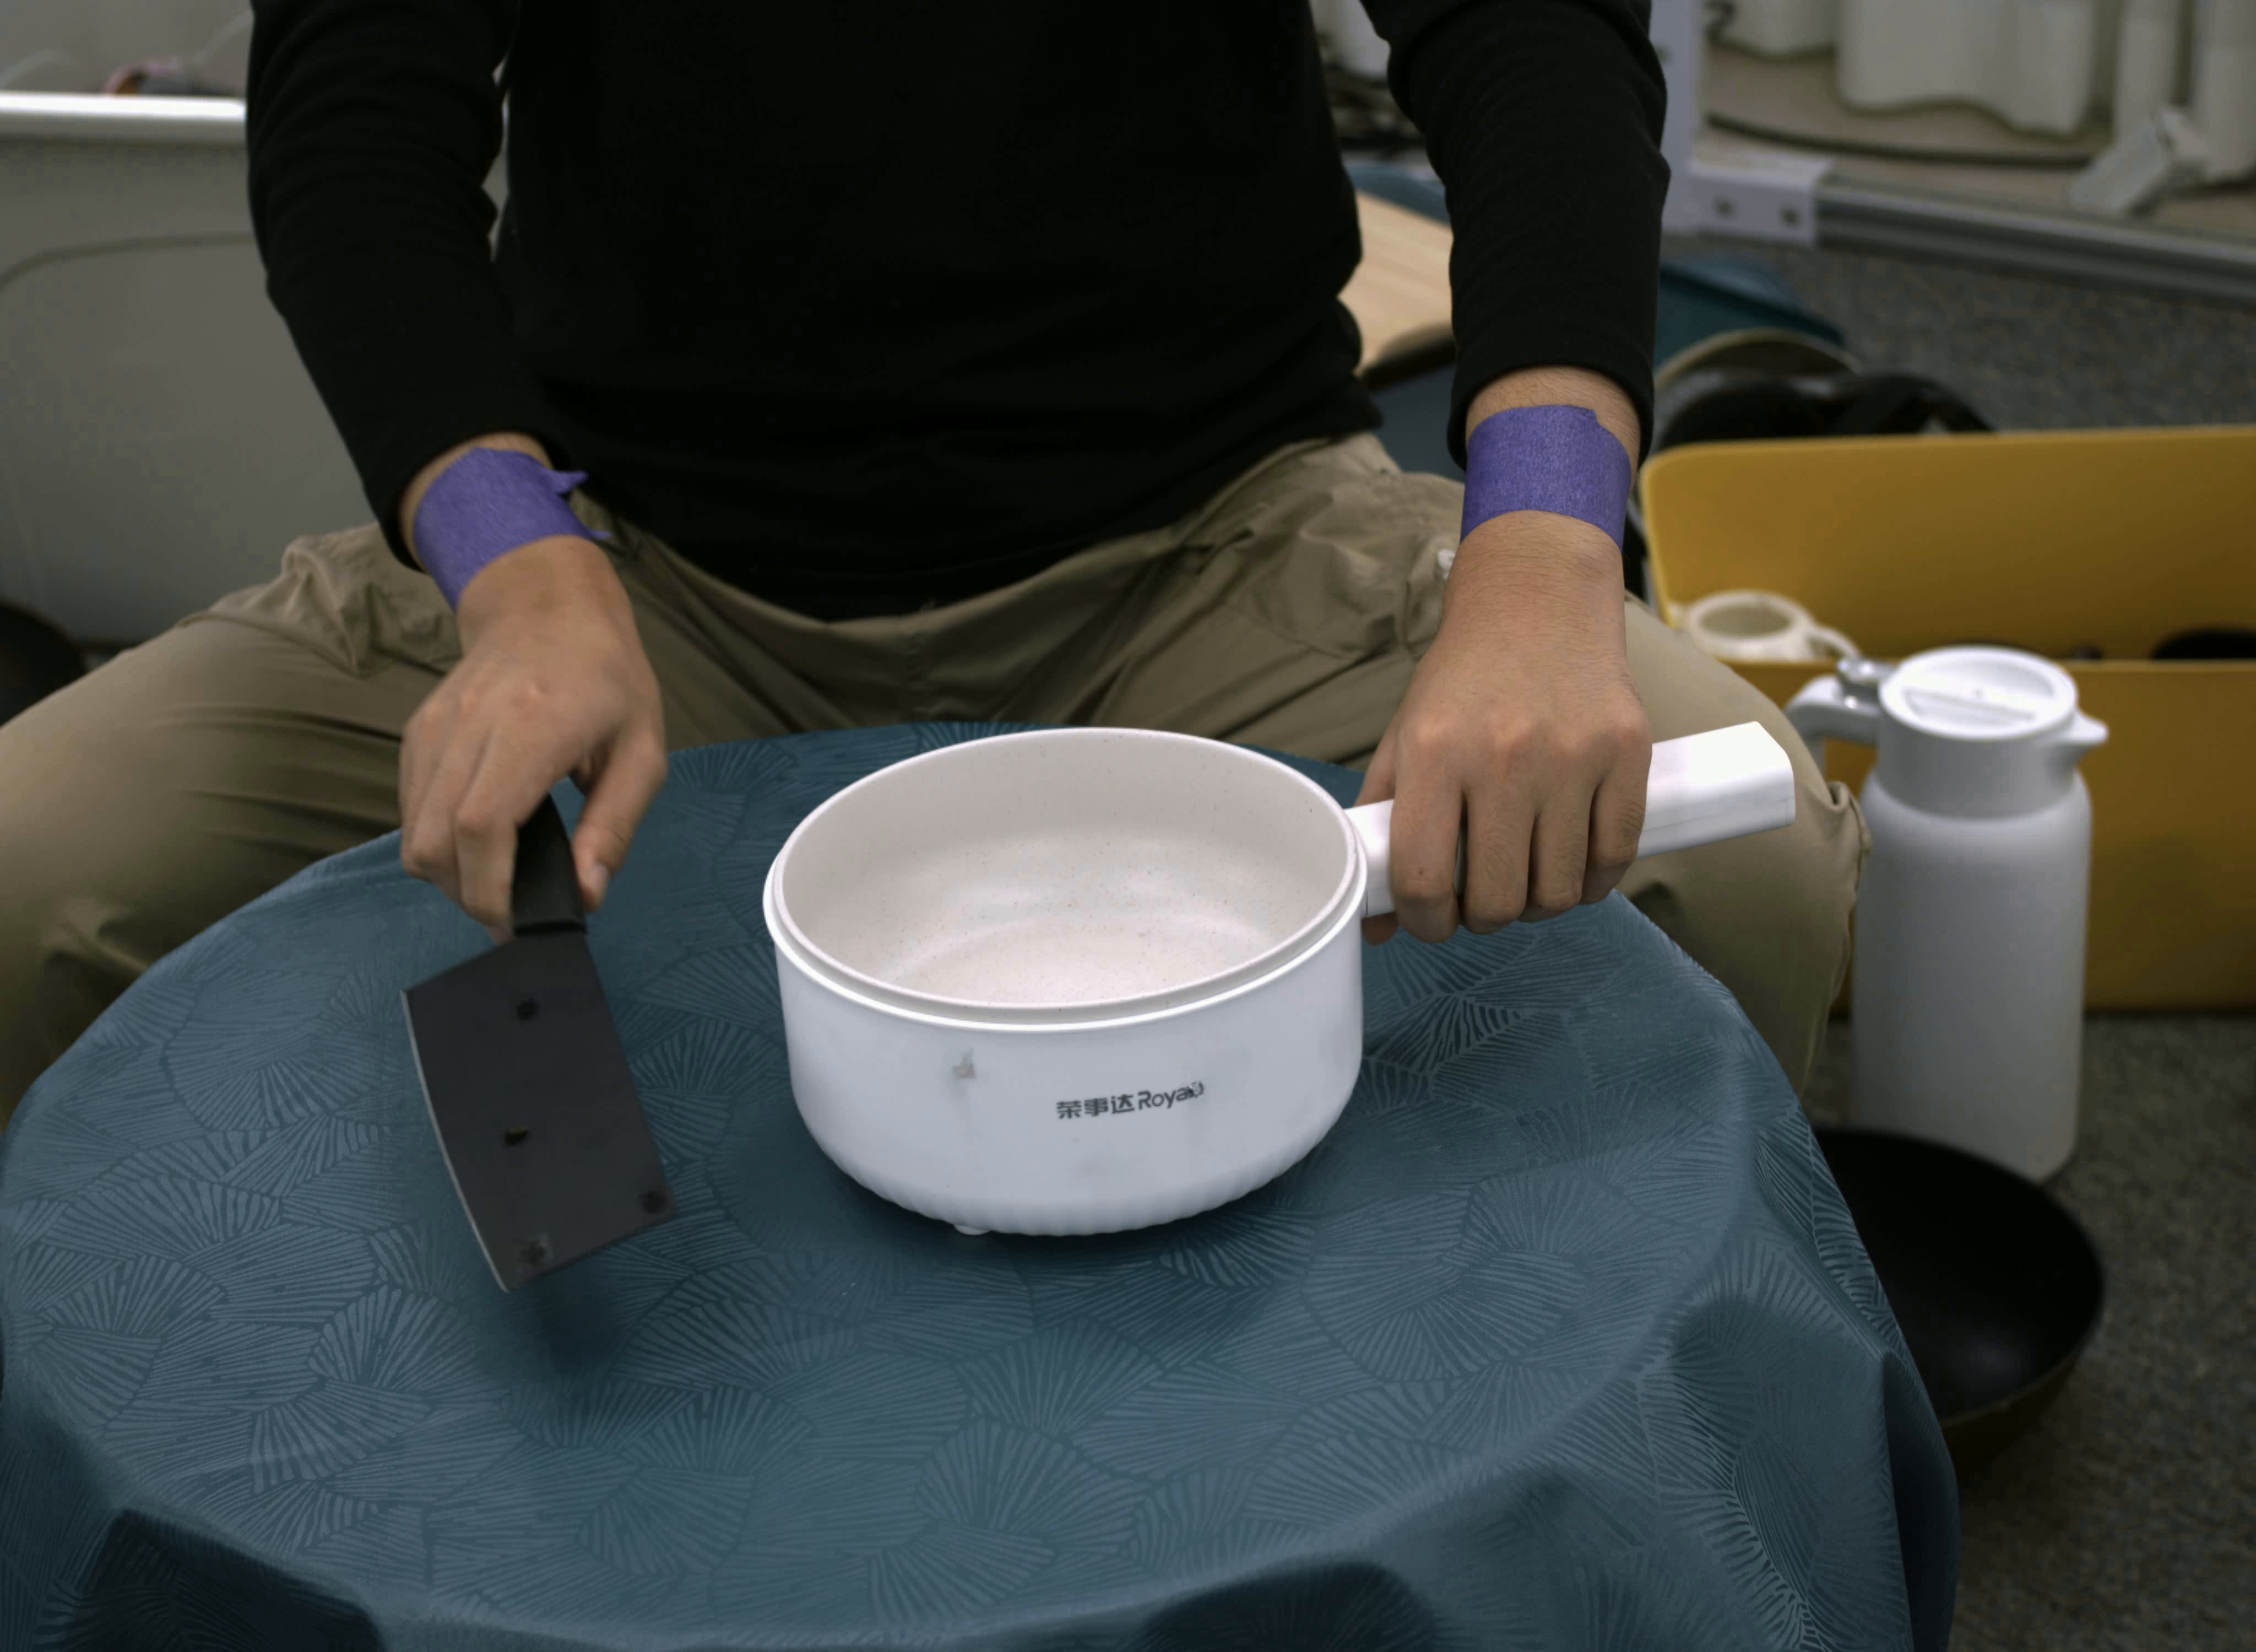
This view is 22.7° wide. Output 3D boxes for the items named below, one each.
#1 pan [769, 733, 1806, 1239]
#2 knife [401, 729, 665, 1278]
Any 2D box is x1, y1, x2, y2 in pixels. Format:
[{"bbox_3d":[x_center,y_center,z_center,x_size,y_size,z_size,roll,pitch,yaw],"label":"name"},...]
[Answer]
[{"bbox_3d":[0.056,0.045,1.899,0.355,0.101,0.203,-9,27,-14],"label":"pan"},{"bbox_3d":[-0.206,0.054,1.877,0.080,0.020,0.307,-21,34,2],"label":"knife"}]
